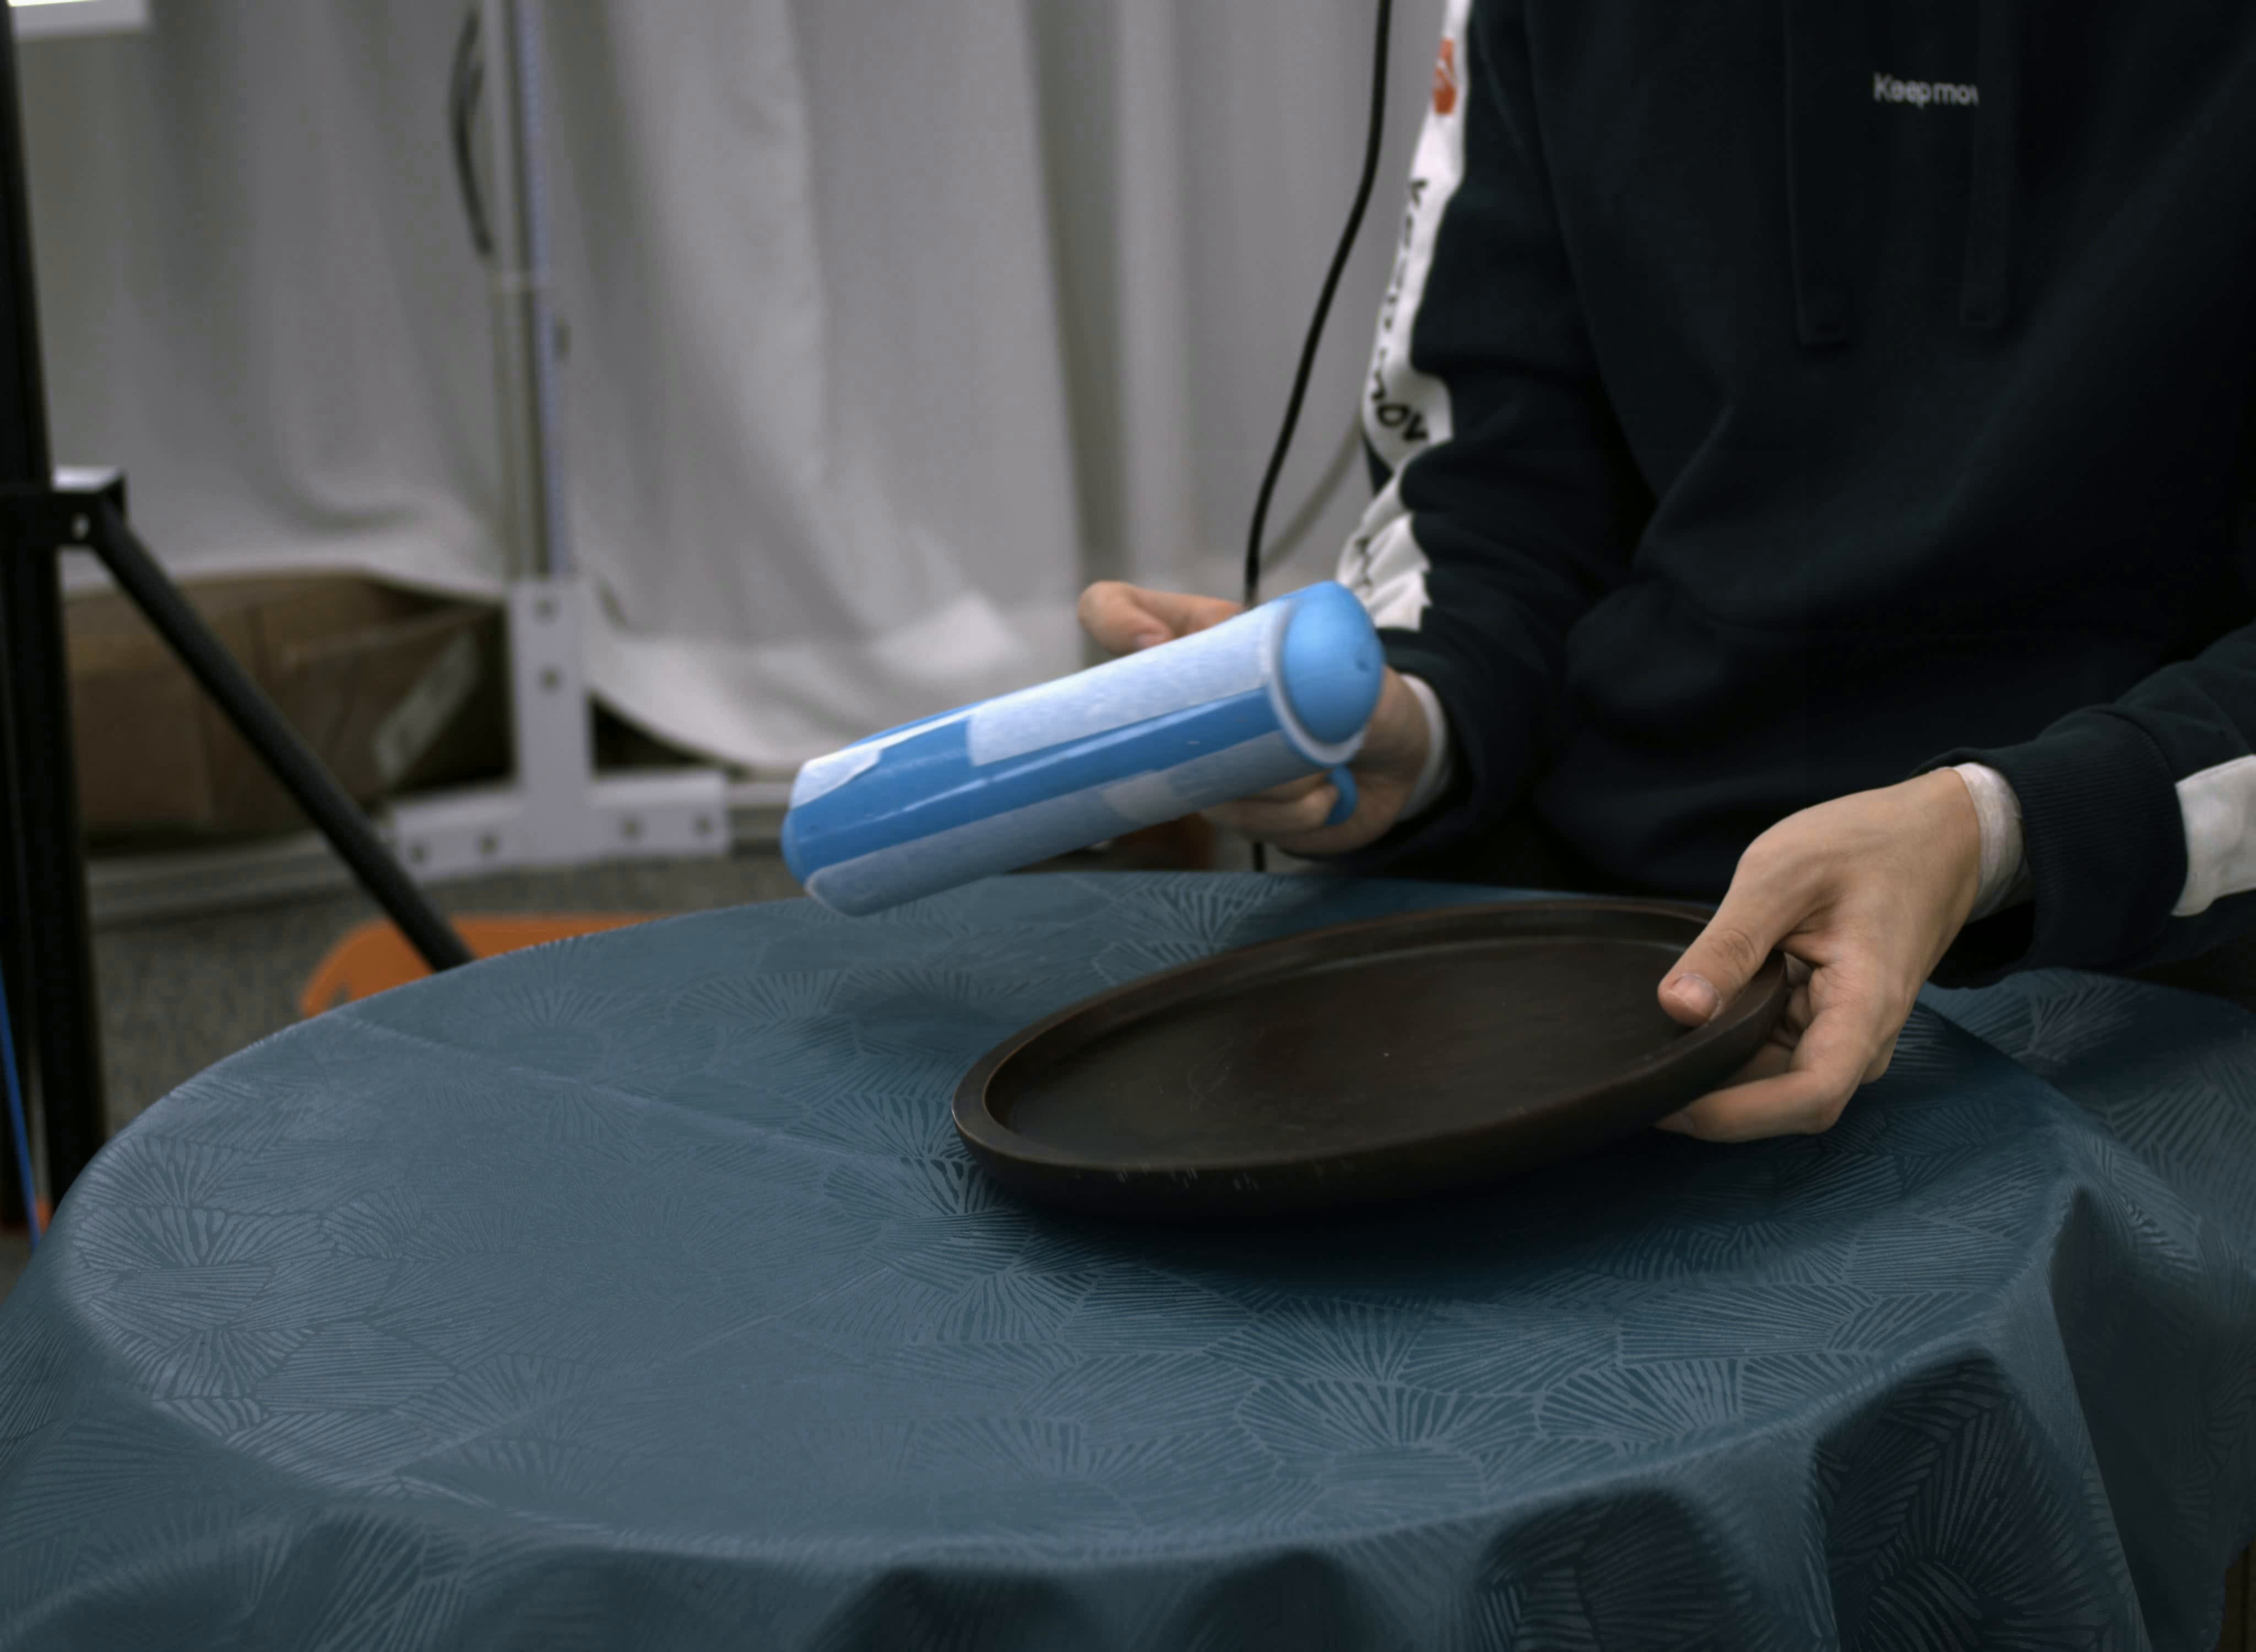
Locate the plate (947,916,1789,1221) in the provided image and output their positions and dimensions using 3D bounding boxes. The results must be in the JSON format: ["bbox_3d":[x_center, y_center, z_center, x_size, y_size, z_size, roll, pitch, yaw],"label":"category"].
[{"bbox_3d":[0.072,0.069,1.576,0.254,0.029,0.256,-11,13,1],"label":"plate"}]

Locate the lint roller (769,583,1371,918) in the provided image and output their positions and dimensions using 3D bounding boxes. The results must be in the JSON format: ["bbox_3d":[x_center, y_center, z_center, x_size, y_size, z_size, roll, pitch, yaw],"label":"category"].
[{"bbox_3d":[0.009,-0.022,1.738,0.232,0.068,0.176,-19,-8,32],"label":"lint roller"}]
